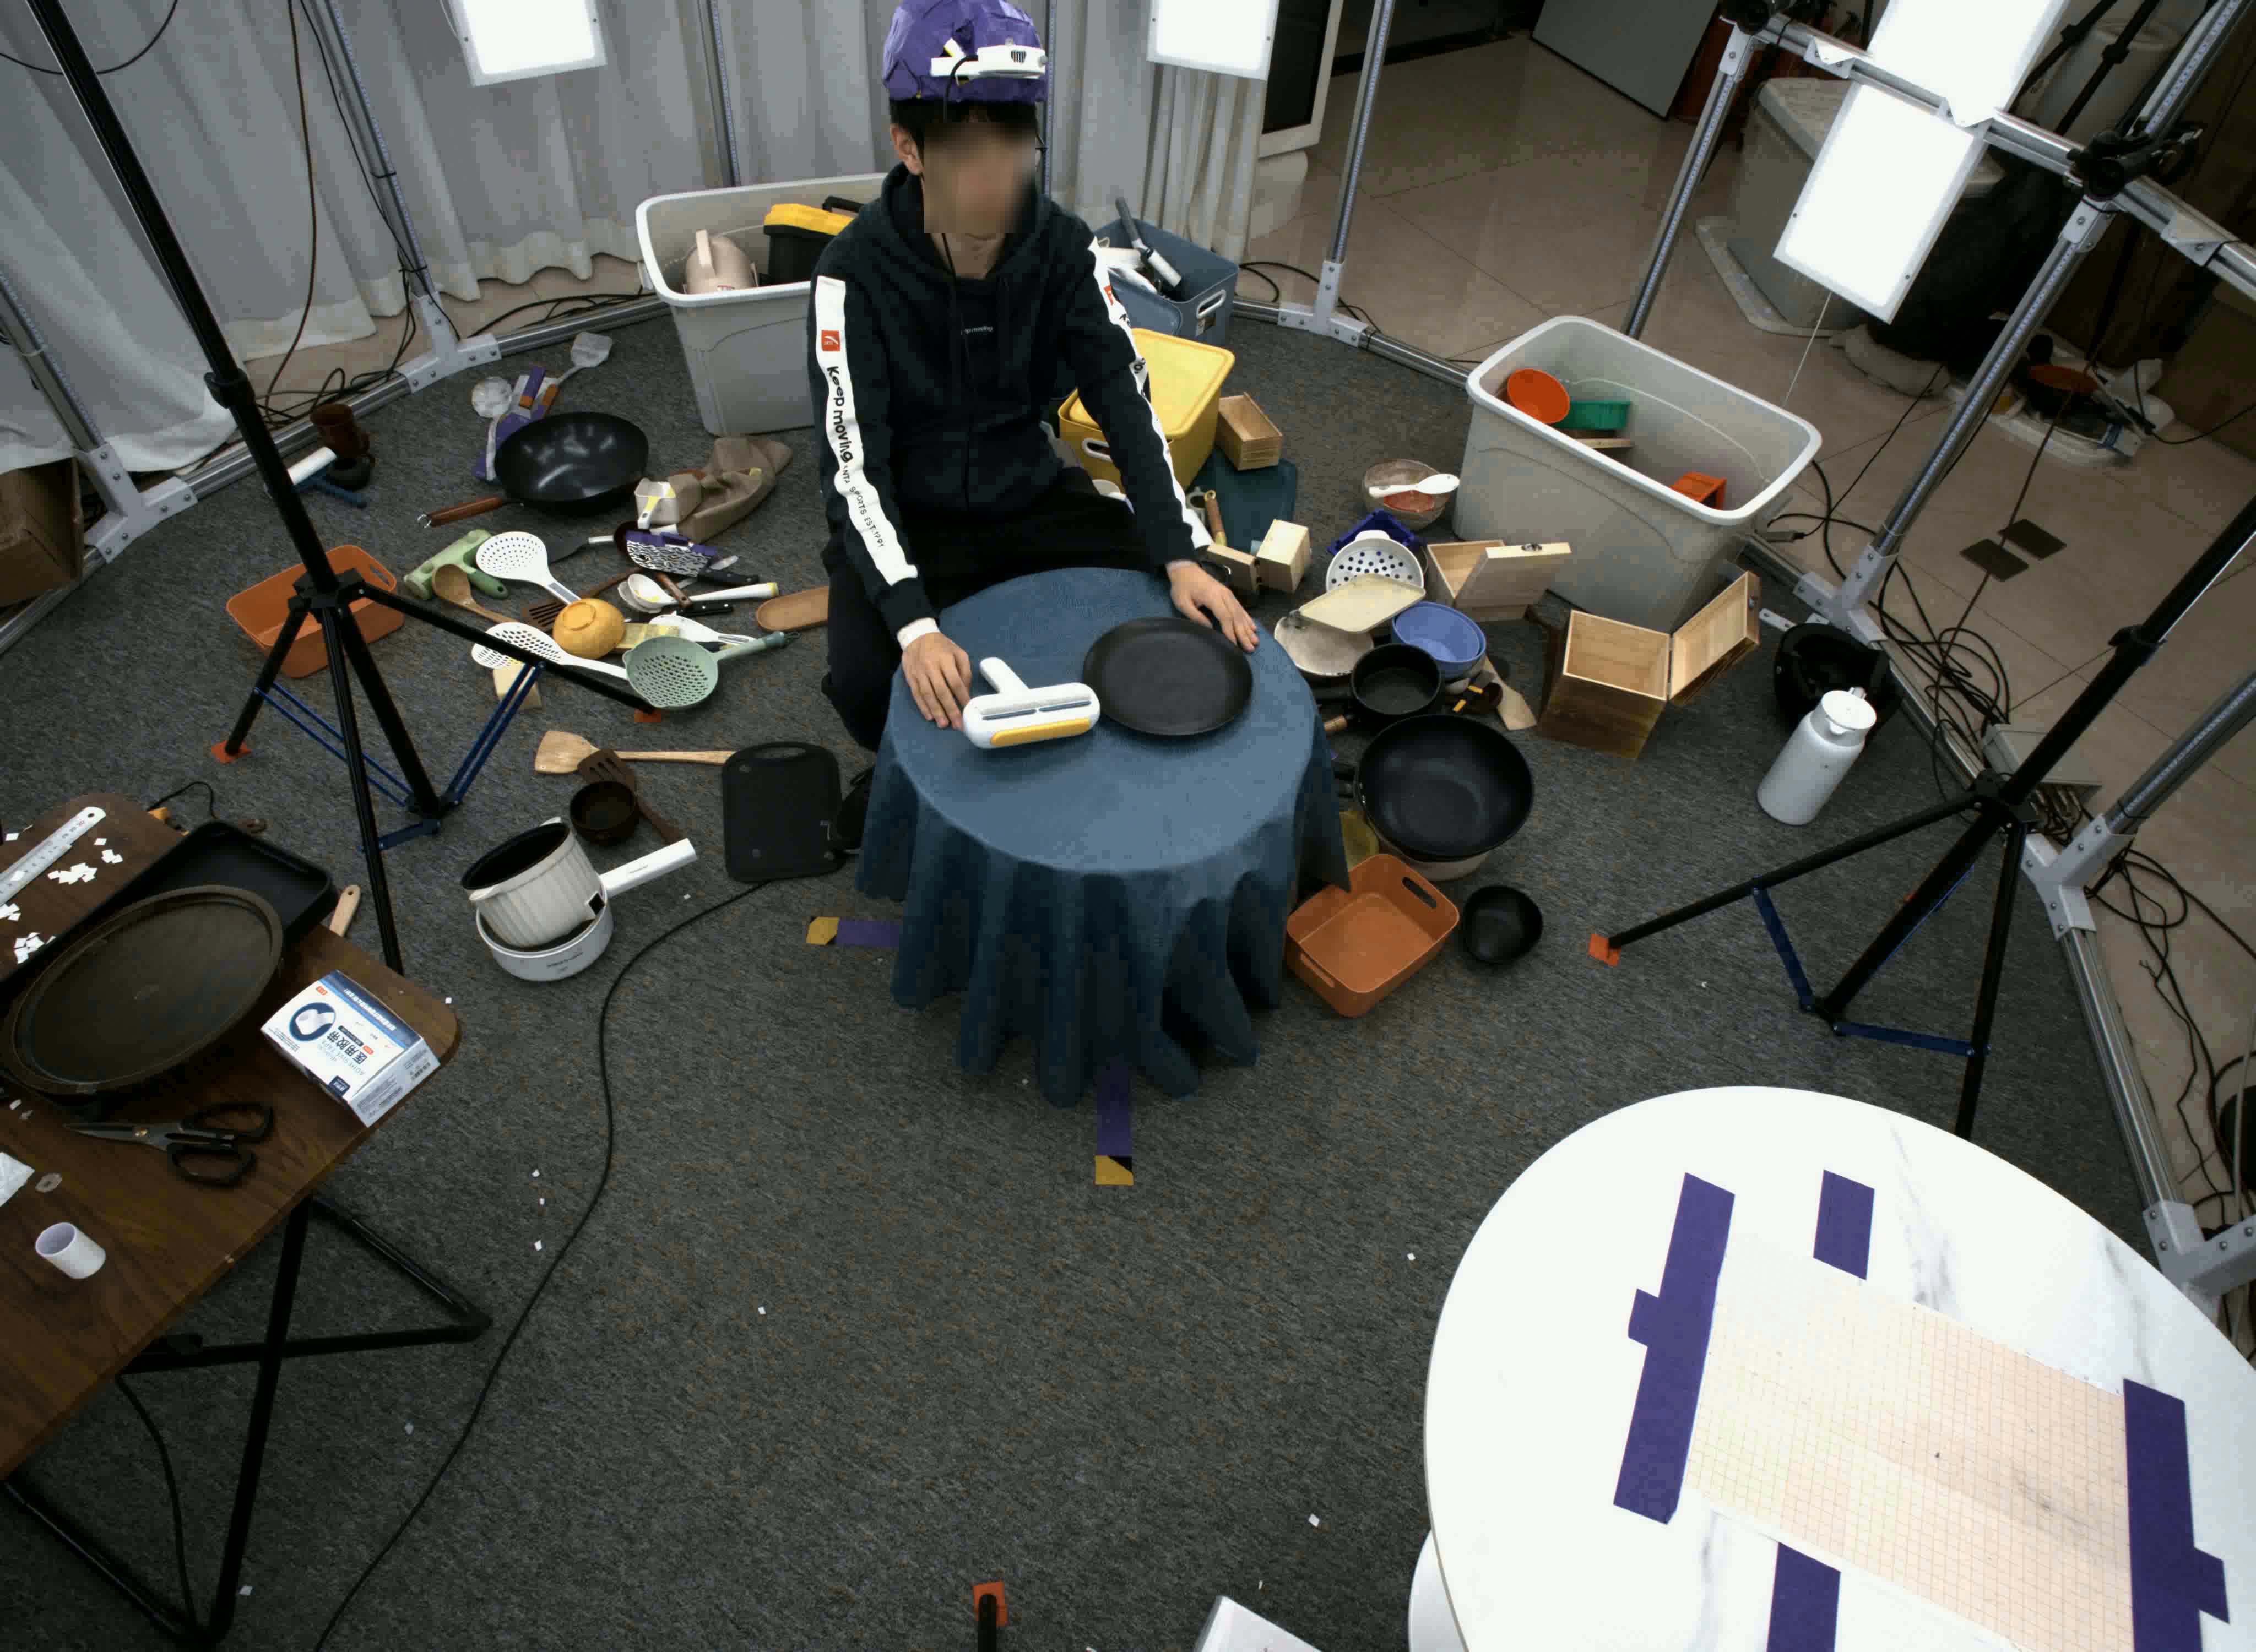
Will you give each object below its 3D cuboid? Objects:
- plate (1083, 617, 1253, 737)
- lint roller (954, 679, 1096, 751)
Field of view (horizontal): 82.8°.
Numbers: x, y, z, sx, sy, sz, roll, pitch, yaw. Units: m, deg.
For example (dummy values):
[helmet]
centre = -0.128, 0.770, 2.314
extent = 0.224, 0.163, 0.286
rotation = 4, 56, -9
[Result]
[plate]
centre = 0.057, -0.211, 1.840
extent = 0.244, 0.023, 0.250
rotation = 1, 49, -2
[lint roller]
centre = -0.159, -0.170, 1.785
extent = 0.192, 0.072, 0.197
rotation = -8, 36, -19
